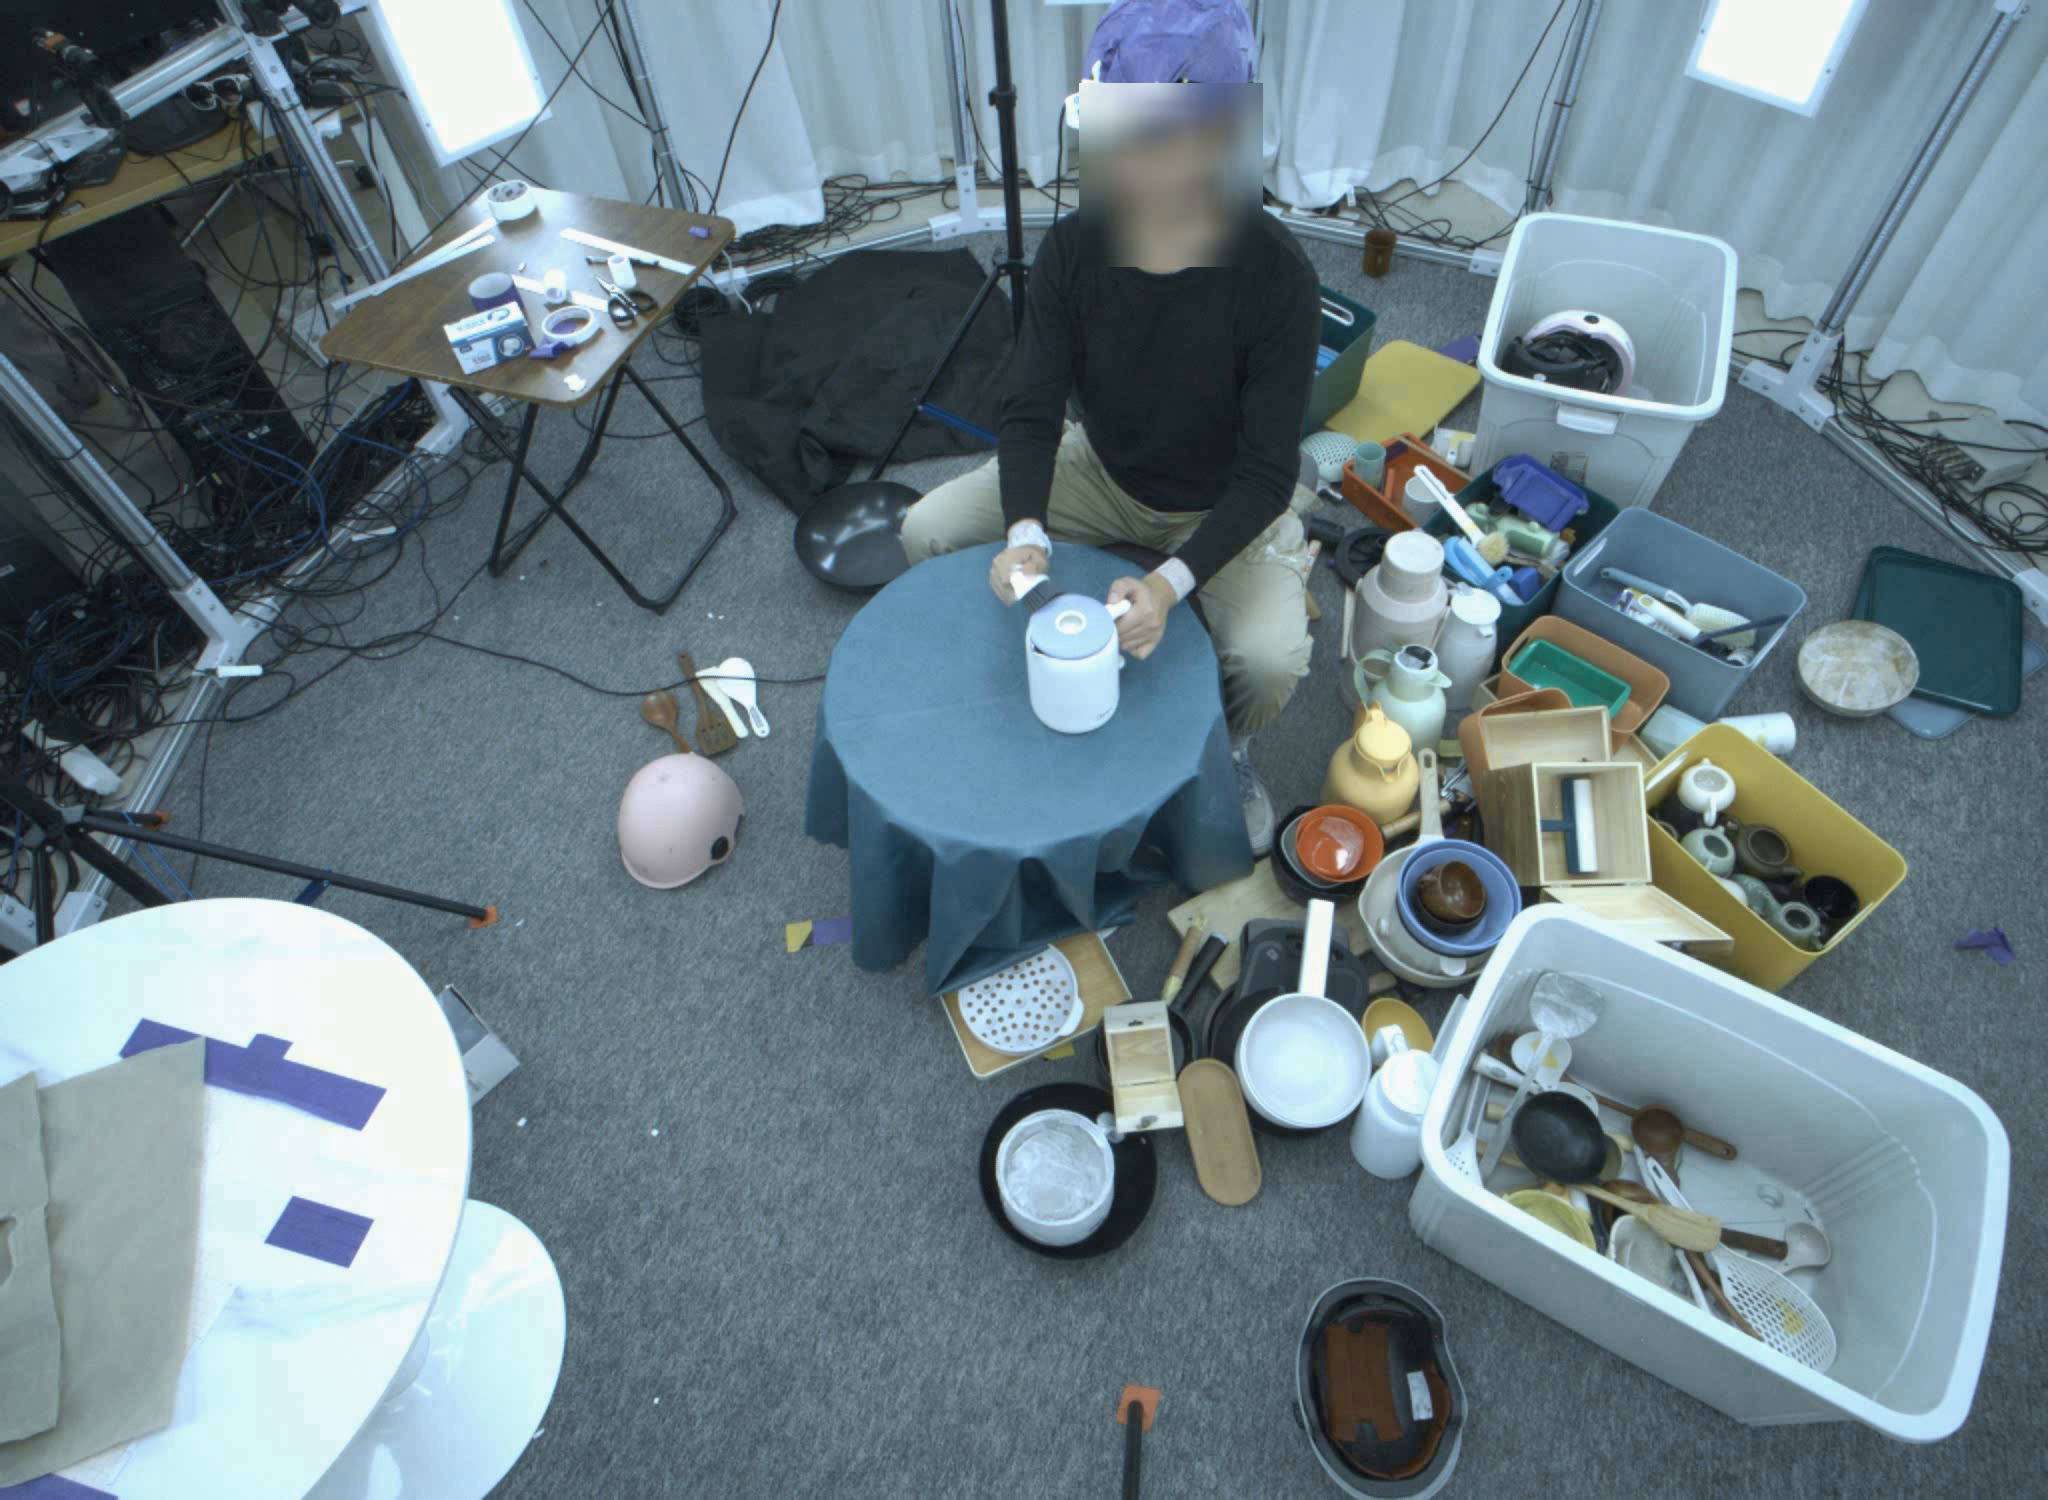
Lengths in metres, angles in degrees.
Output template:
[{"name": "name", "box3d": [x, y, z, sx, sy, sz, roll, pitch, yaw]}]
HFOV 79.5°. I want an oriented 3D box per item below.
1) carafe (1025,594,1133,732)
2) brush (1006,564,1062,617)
[{"name": "carafe", "box3d": [0.088, -0.138, 1.777, 0.192, 0.184, 0.130, -37, 61, -23]}, {"name": "brush", "box3d": [0.007, -0.234, 1.749, 0.050, 0.100, 0.072, -42, 90, 21]}]
